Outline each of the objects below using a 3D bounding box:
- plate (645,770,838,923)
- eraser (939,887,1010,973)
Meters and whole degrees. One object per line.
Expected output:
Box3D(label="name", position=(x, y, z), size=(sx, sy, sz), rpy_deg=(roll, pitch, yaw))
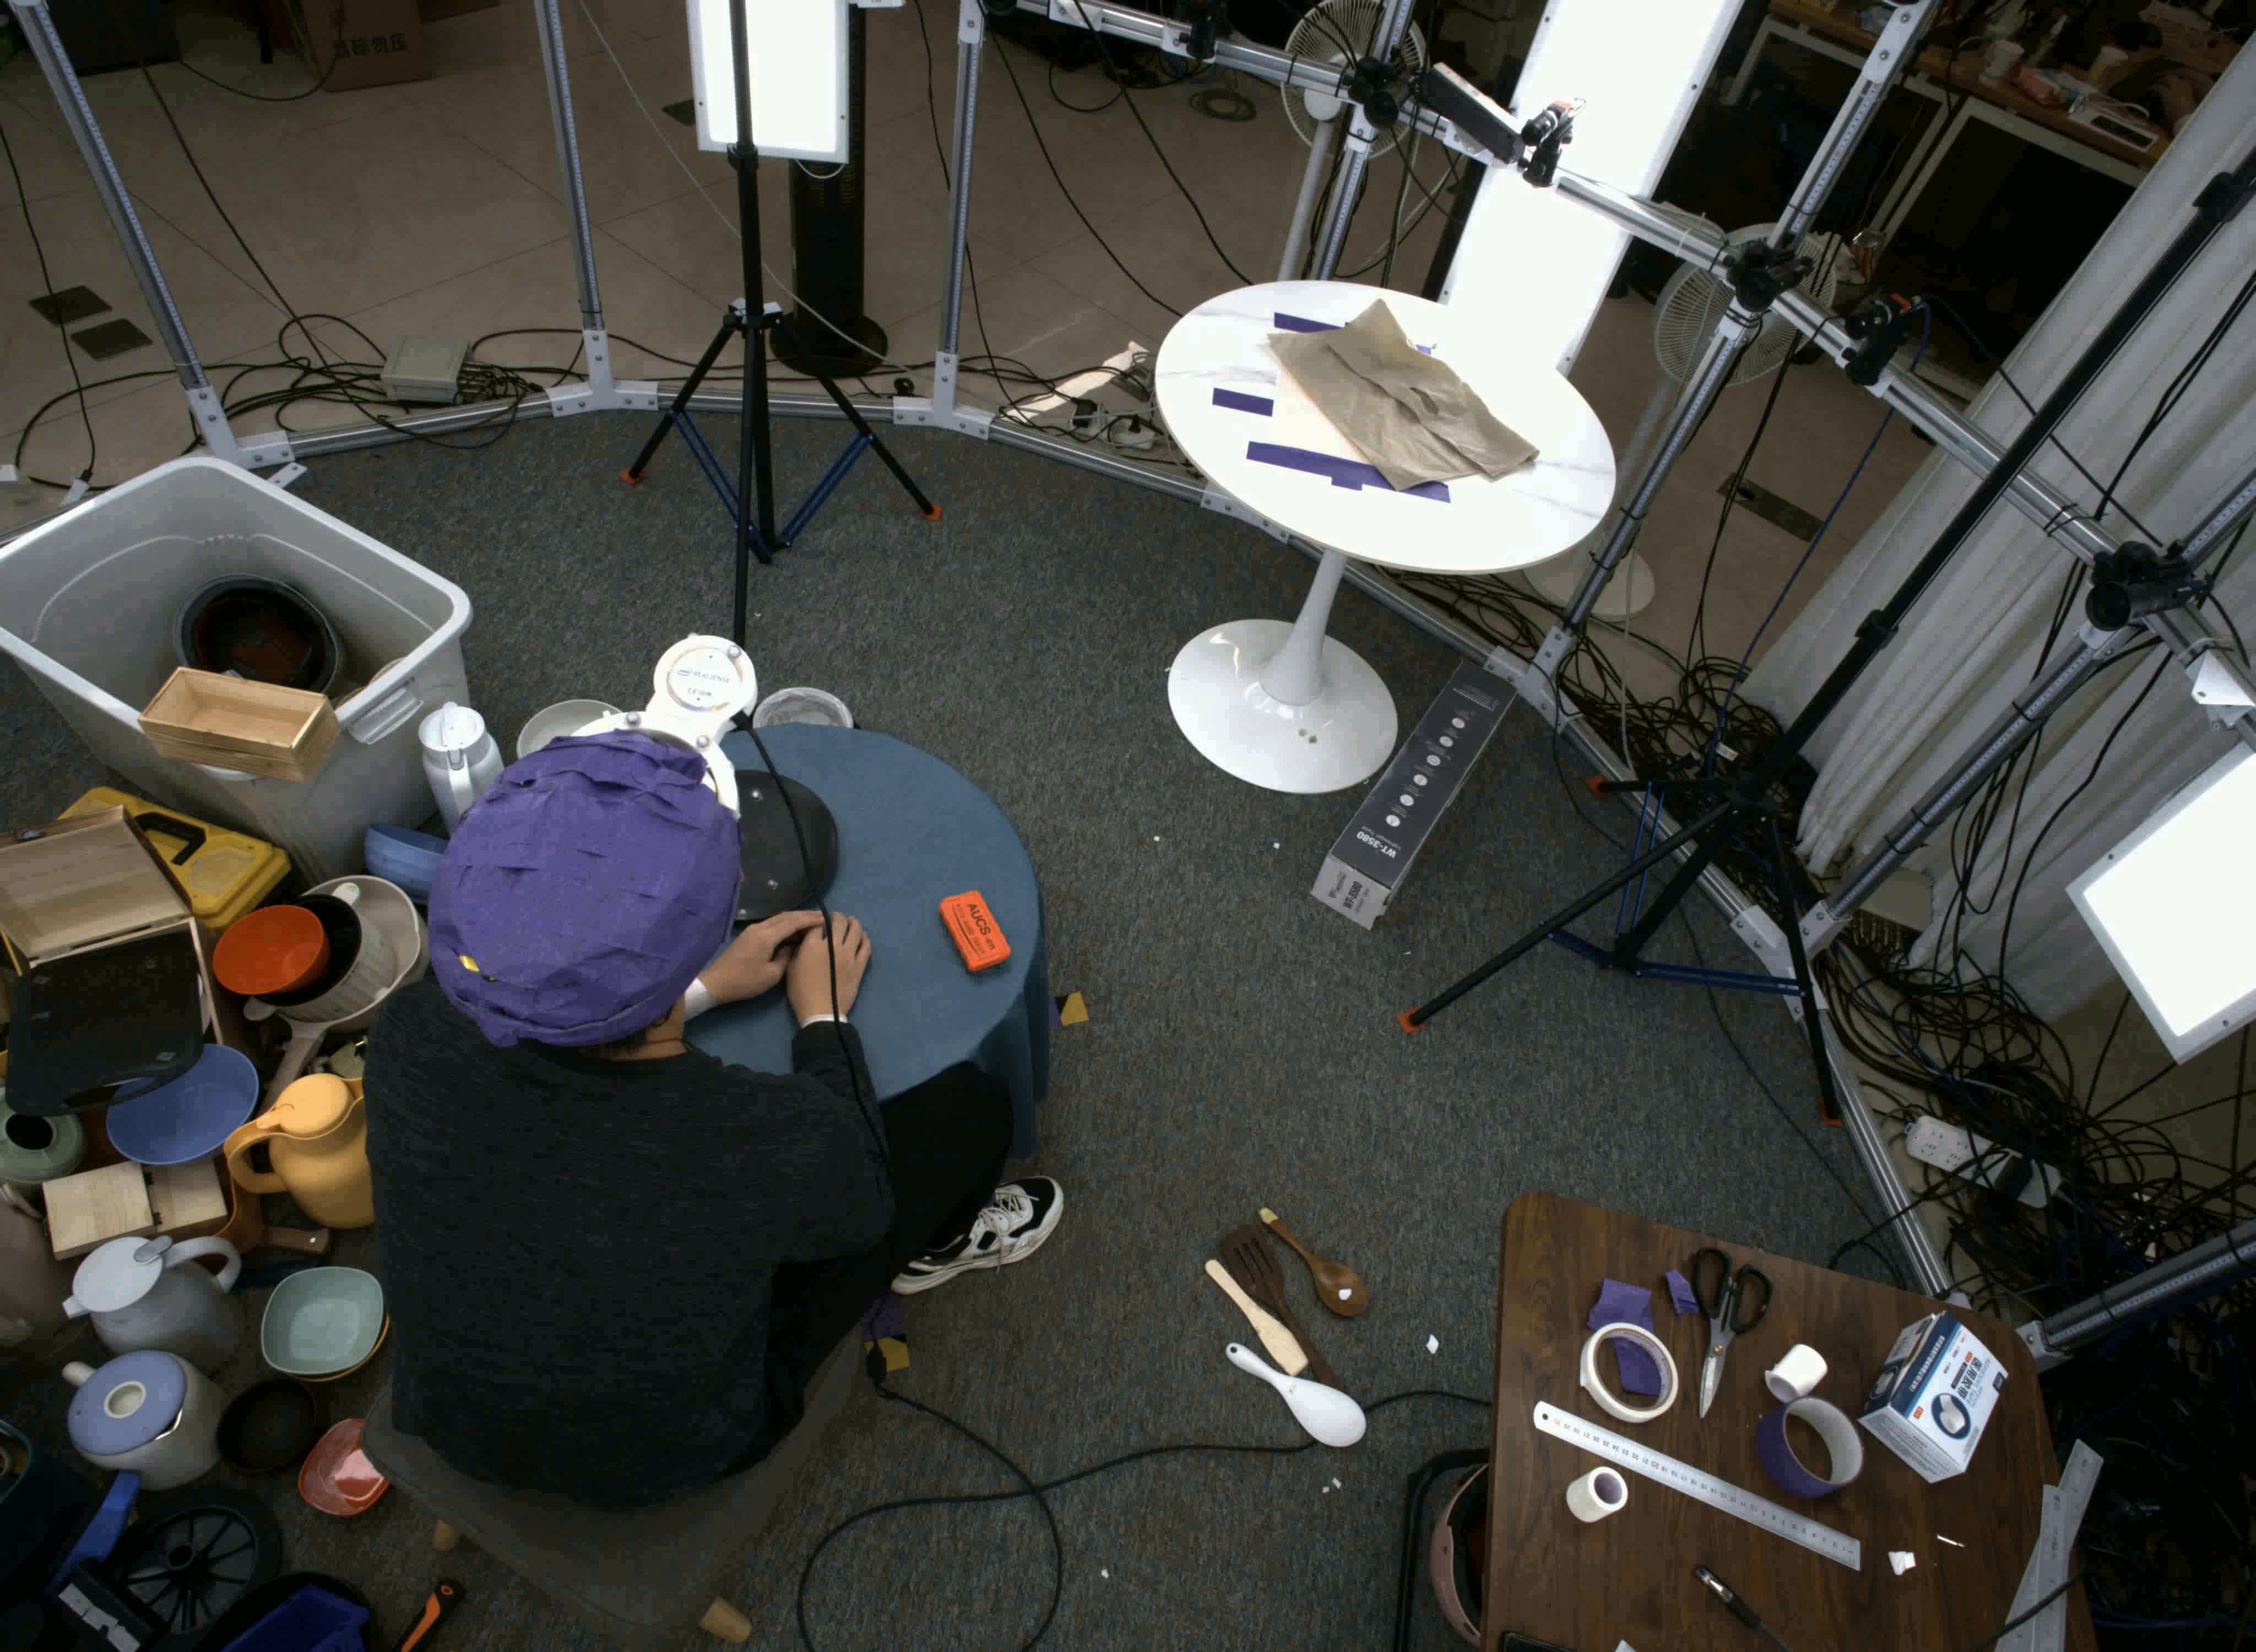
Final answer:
Box3D(label="plate", position=(-0.497, 0.026, 1.665), size=(0.244, 0.024, 0.240), rpy_deg=(8, 52, -9))
Box3D(label="eraser", position=(-0.196, 0.130, 1.662), size=(0.059, 0.023, 0.105), rpy_deg=(-20, 63, -25))
